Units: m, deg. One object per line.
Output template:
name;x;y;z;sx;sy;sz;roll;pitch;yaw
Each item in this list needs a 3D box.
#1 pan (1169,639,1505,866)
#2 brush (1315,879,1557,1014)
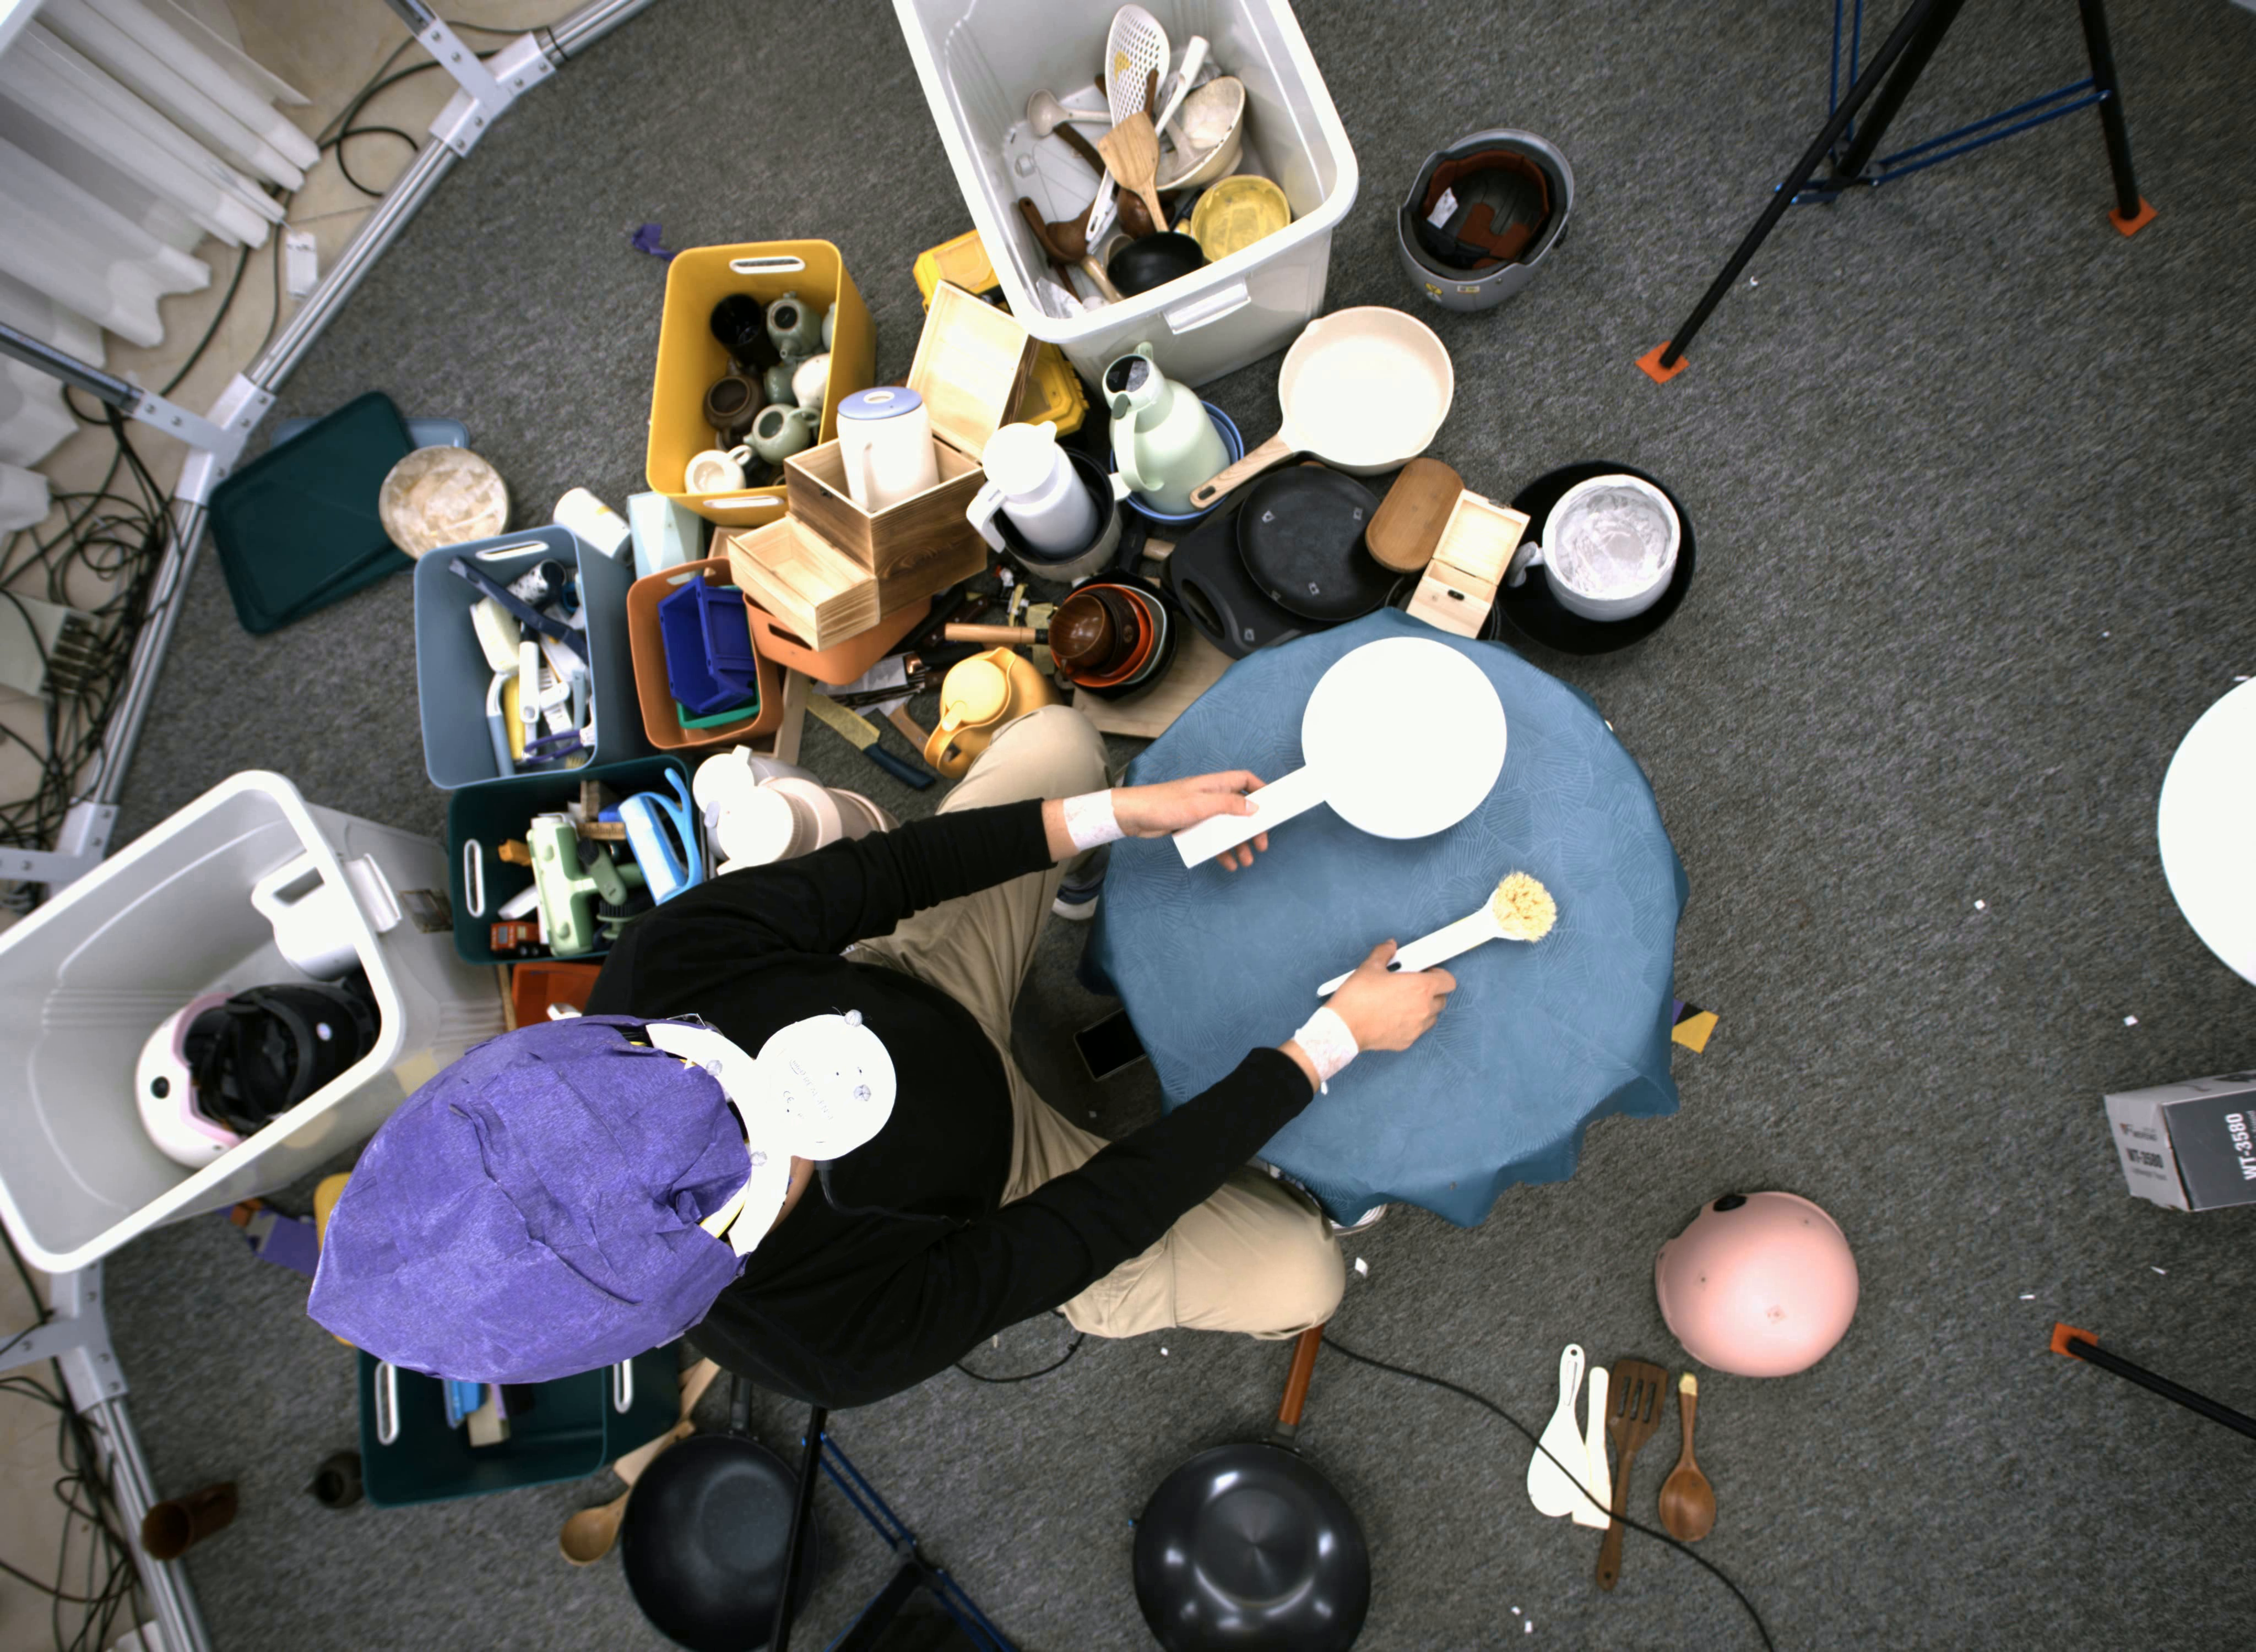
pan;0.214;-0.051;1.429;0.357;0.102;0.200;-27;83;9
brush;0.314;0.131;1.422;0.268;0.056;0.068;-25;77;9
